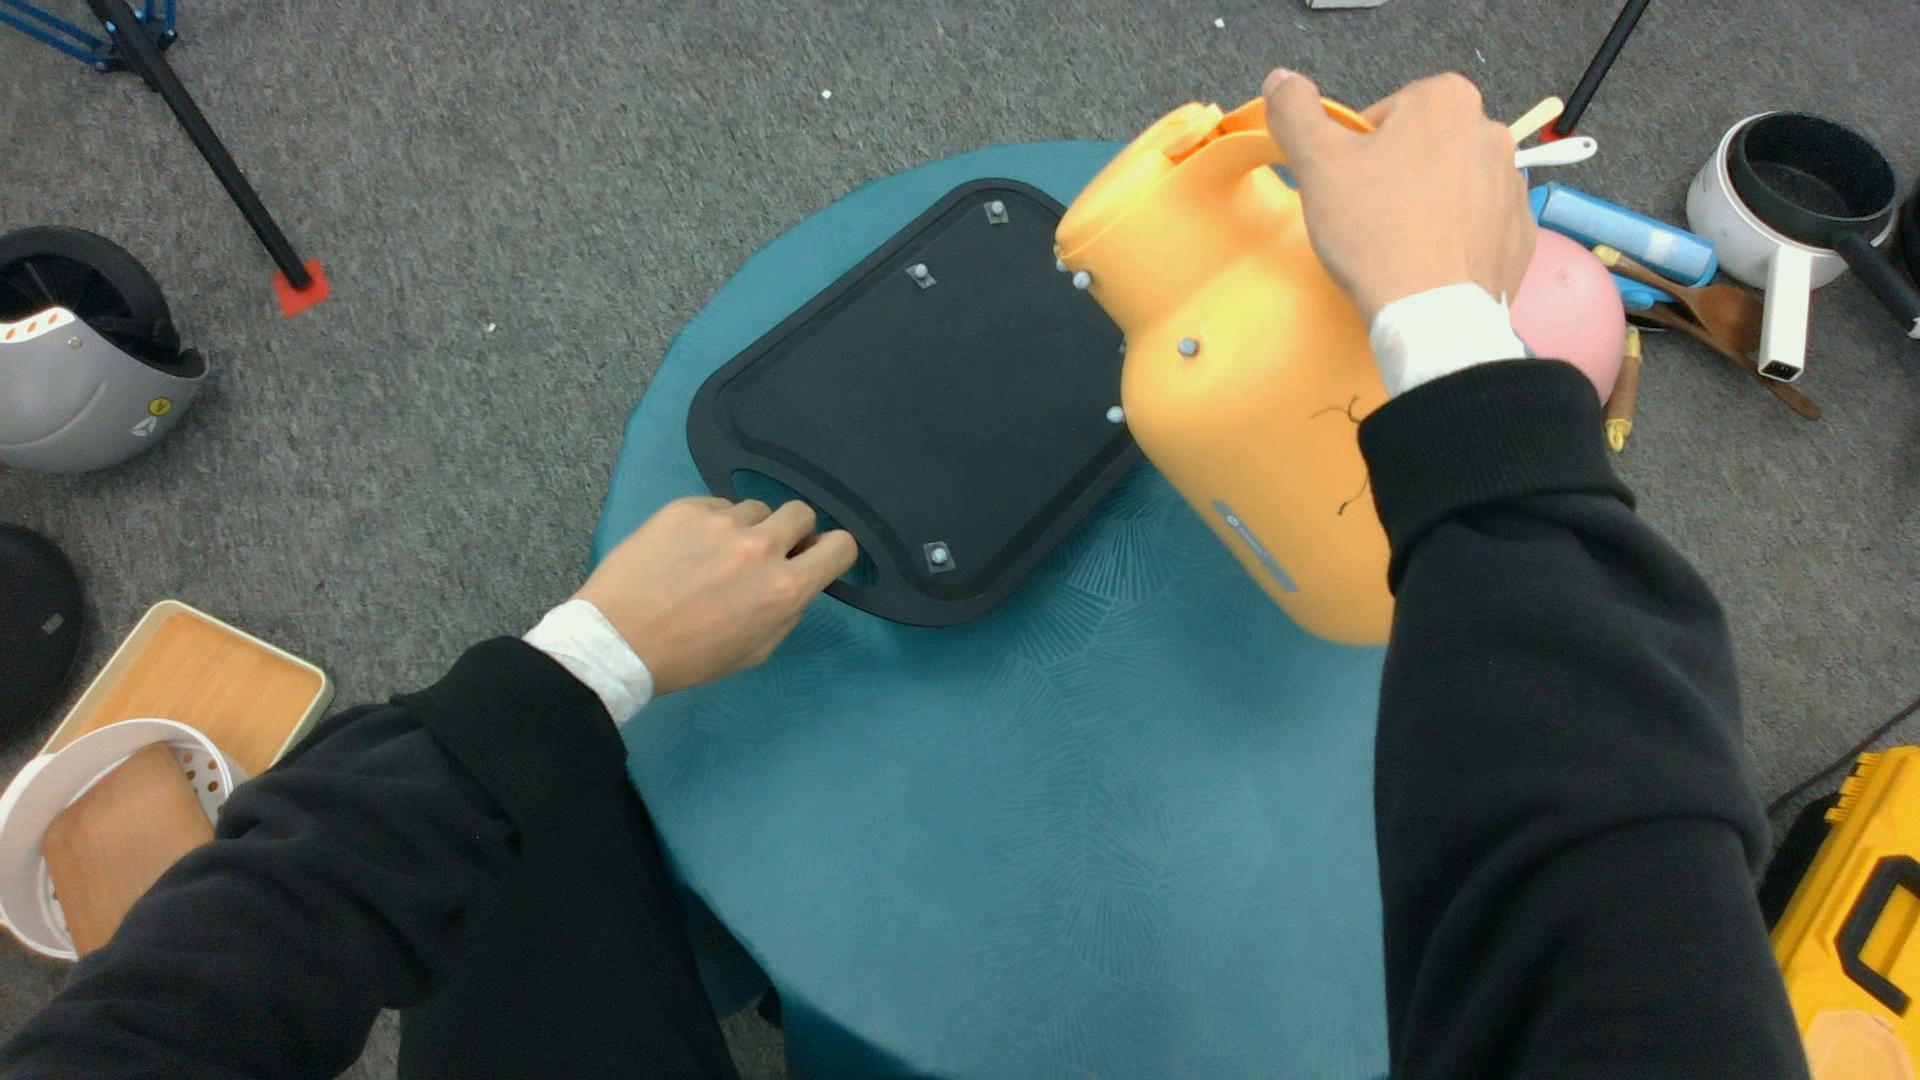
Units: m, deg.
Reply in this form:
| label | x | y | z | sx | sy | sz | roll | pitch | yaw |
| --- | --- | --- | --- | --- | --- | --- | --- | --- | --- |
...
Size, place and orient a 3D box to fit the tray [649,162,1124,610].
| label | x | y | z | sx | sy | sz | roll | pitch | yaw |
| --- | --- | --- | --- | --- | --- | --- | --- | --- | --- |
| tray | -0.017 | -0.099 | 0.790 | 0.211 | 0.010 | 0.327 | 38 | 58 | 12 |

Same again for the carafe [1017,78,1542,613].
| label | x | y | z | sx | sy | sz | roll | pitch | yaw |
| --- | --- | --- | --- | --- | --- | --- | --- | --- | --- |
| carafe | 0.151 | -0.097 | 0.643 | 0.260 | 0.202 | 0.164 | 42 | 70 | -15 |
